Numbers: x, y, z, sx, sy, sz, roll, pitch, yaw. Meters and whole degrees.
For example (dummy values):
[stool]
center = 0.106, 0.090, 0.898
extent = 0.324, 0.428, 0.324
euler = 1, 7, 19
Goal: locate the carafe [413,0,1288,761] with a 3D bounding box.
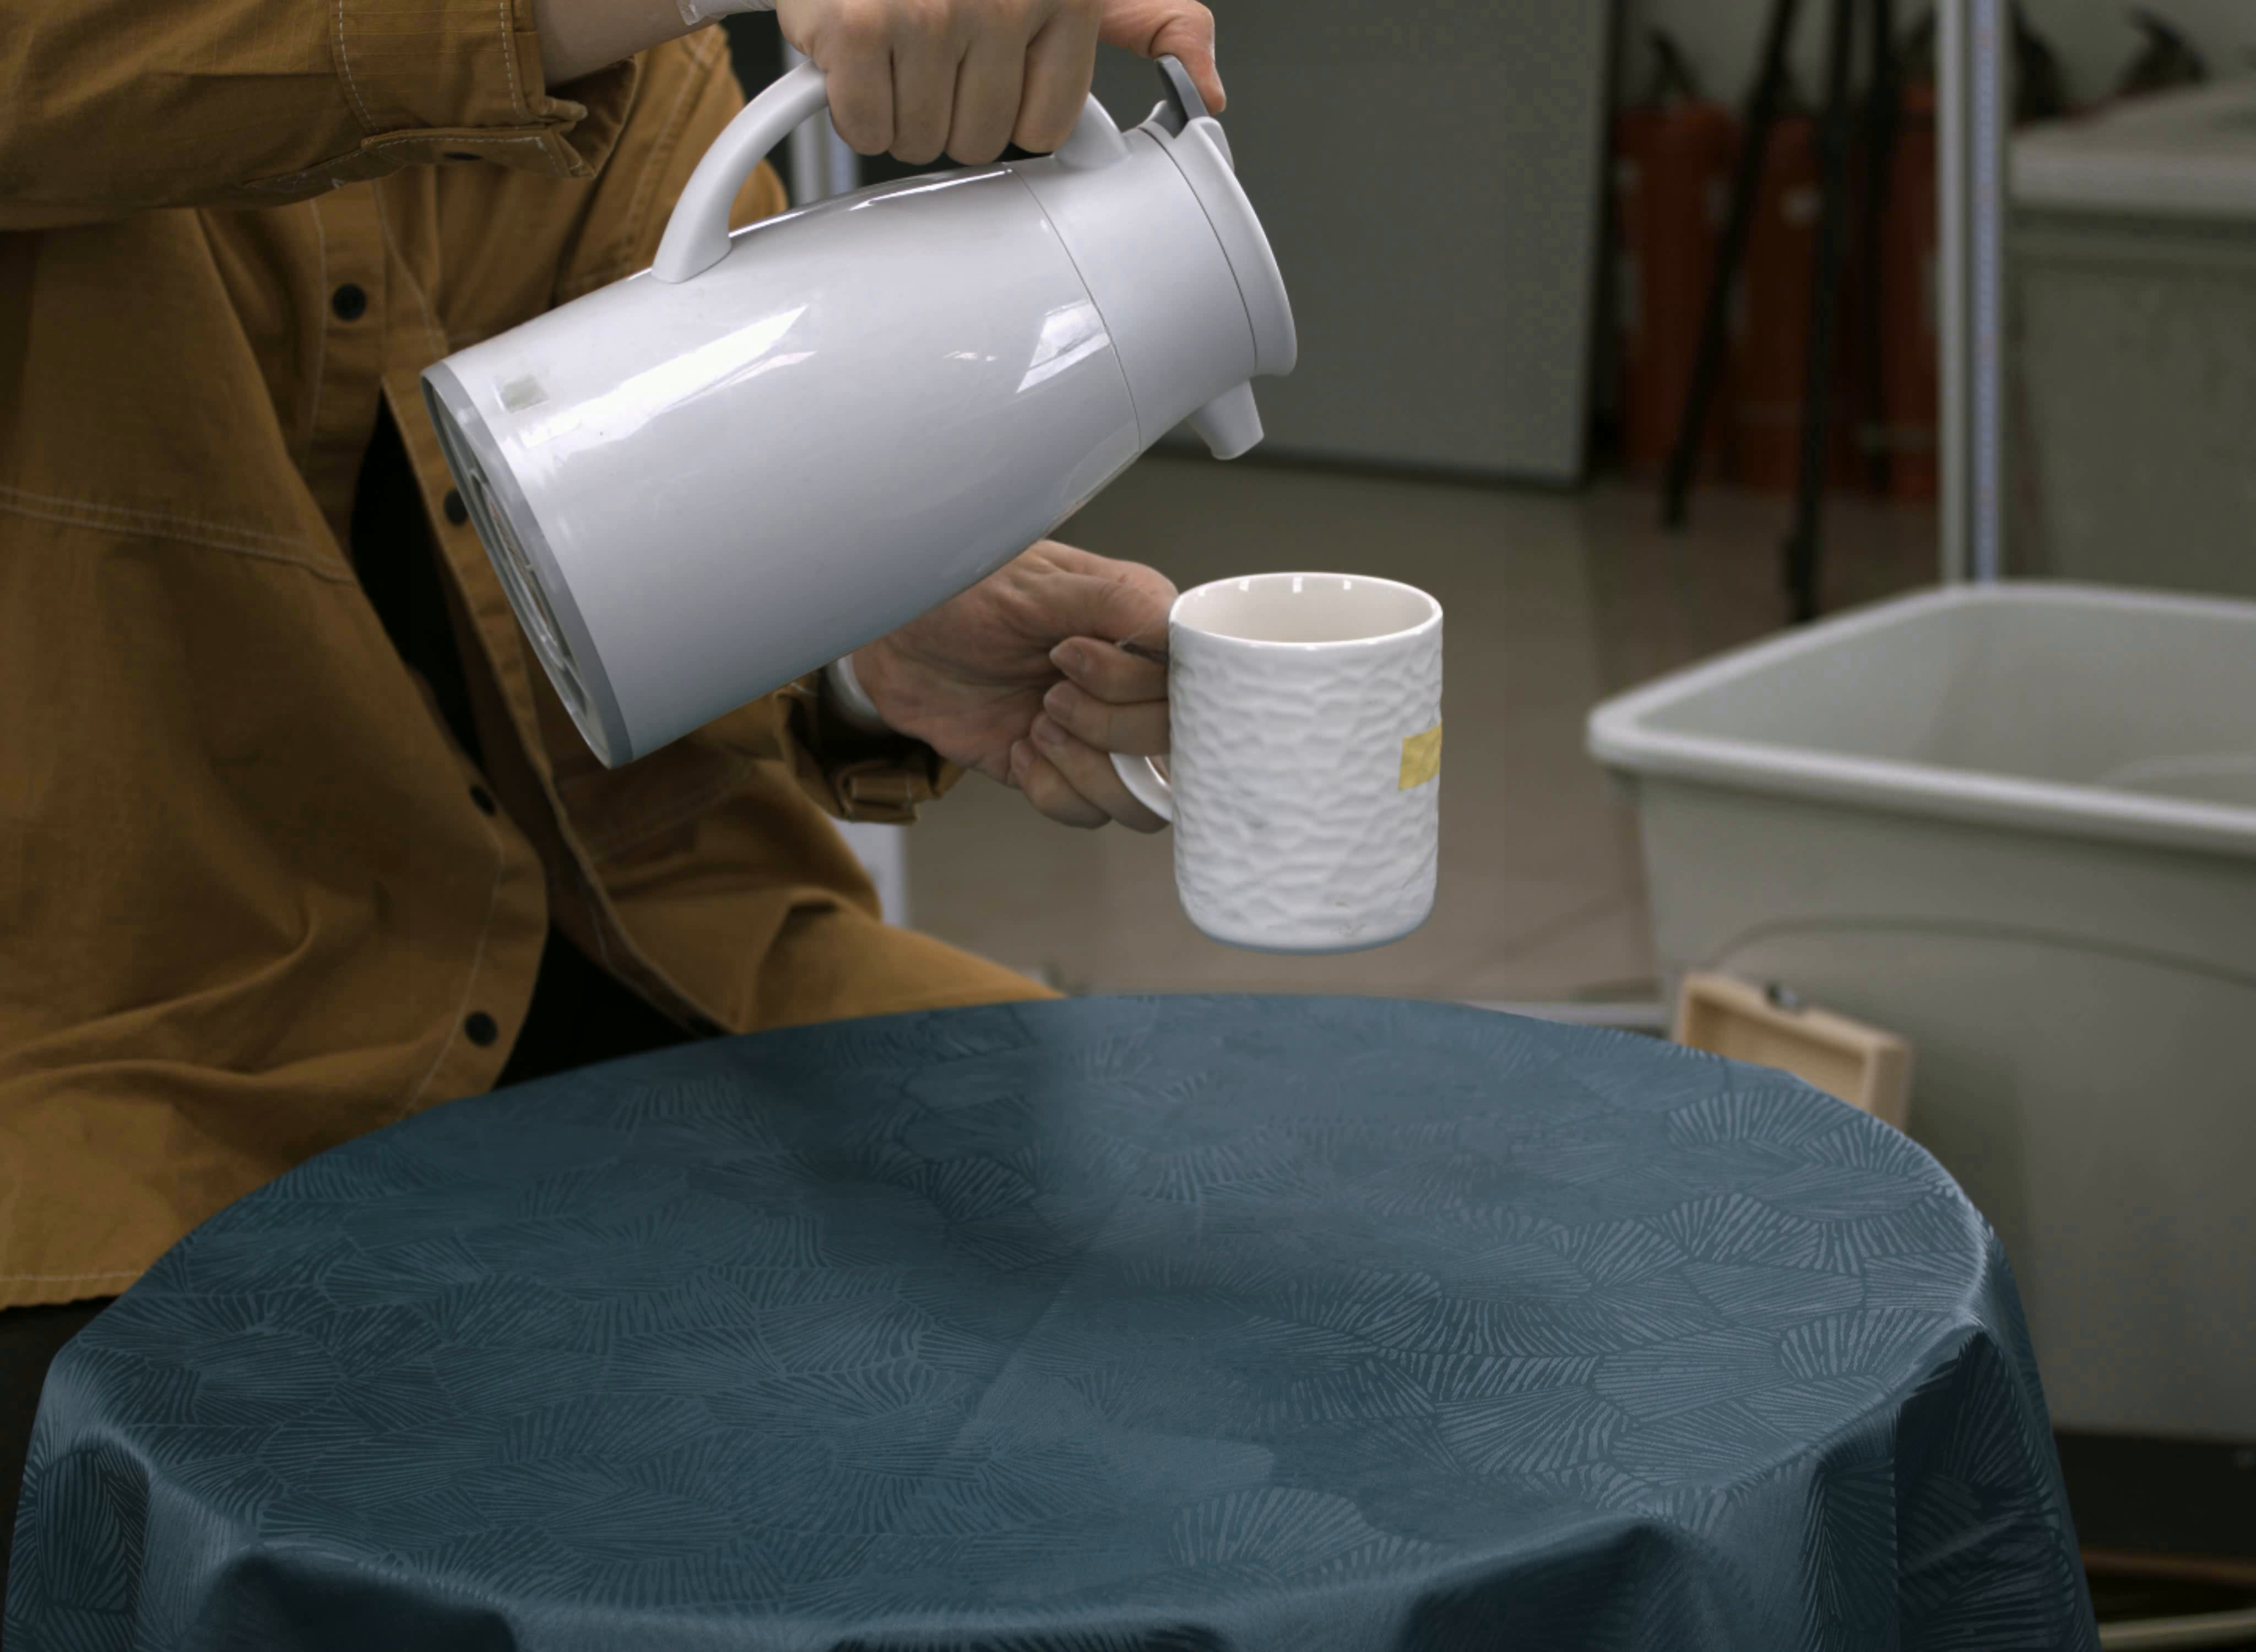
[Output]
[carafe]
center = -0.081, -0.148, 1.604
extent = 0.246, 0.168, 0.134
euler = -26, 25, -7

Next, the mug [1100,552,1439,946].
[mug]
center = 0.041, -0.027, 1.681
extent = 0.119, 0.103, 0.083
euler = 12, 22, 35
